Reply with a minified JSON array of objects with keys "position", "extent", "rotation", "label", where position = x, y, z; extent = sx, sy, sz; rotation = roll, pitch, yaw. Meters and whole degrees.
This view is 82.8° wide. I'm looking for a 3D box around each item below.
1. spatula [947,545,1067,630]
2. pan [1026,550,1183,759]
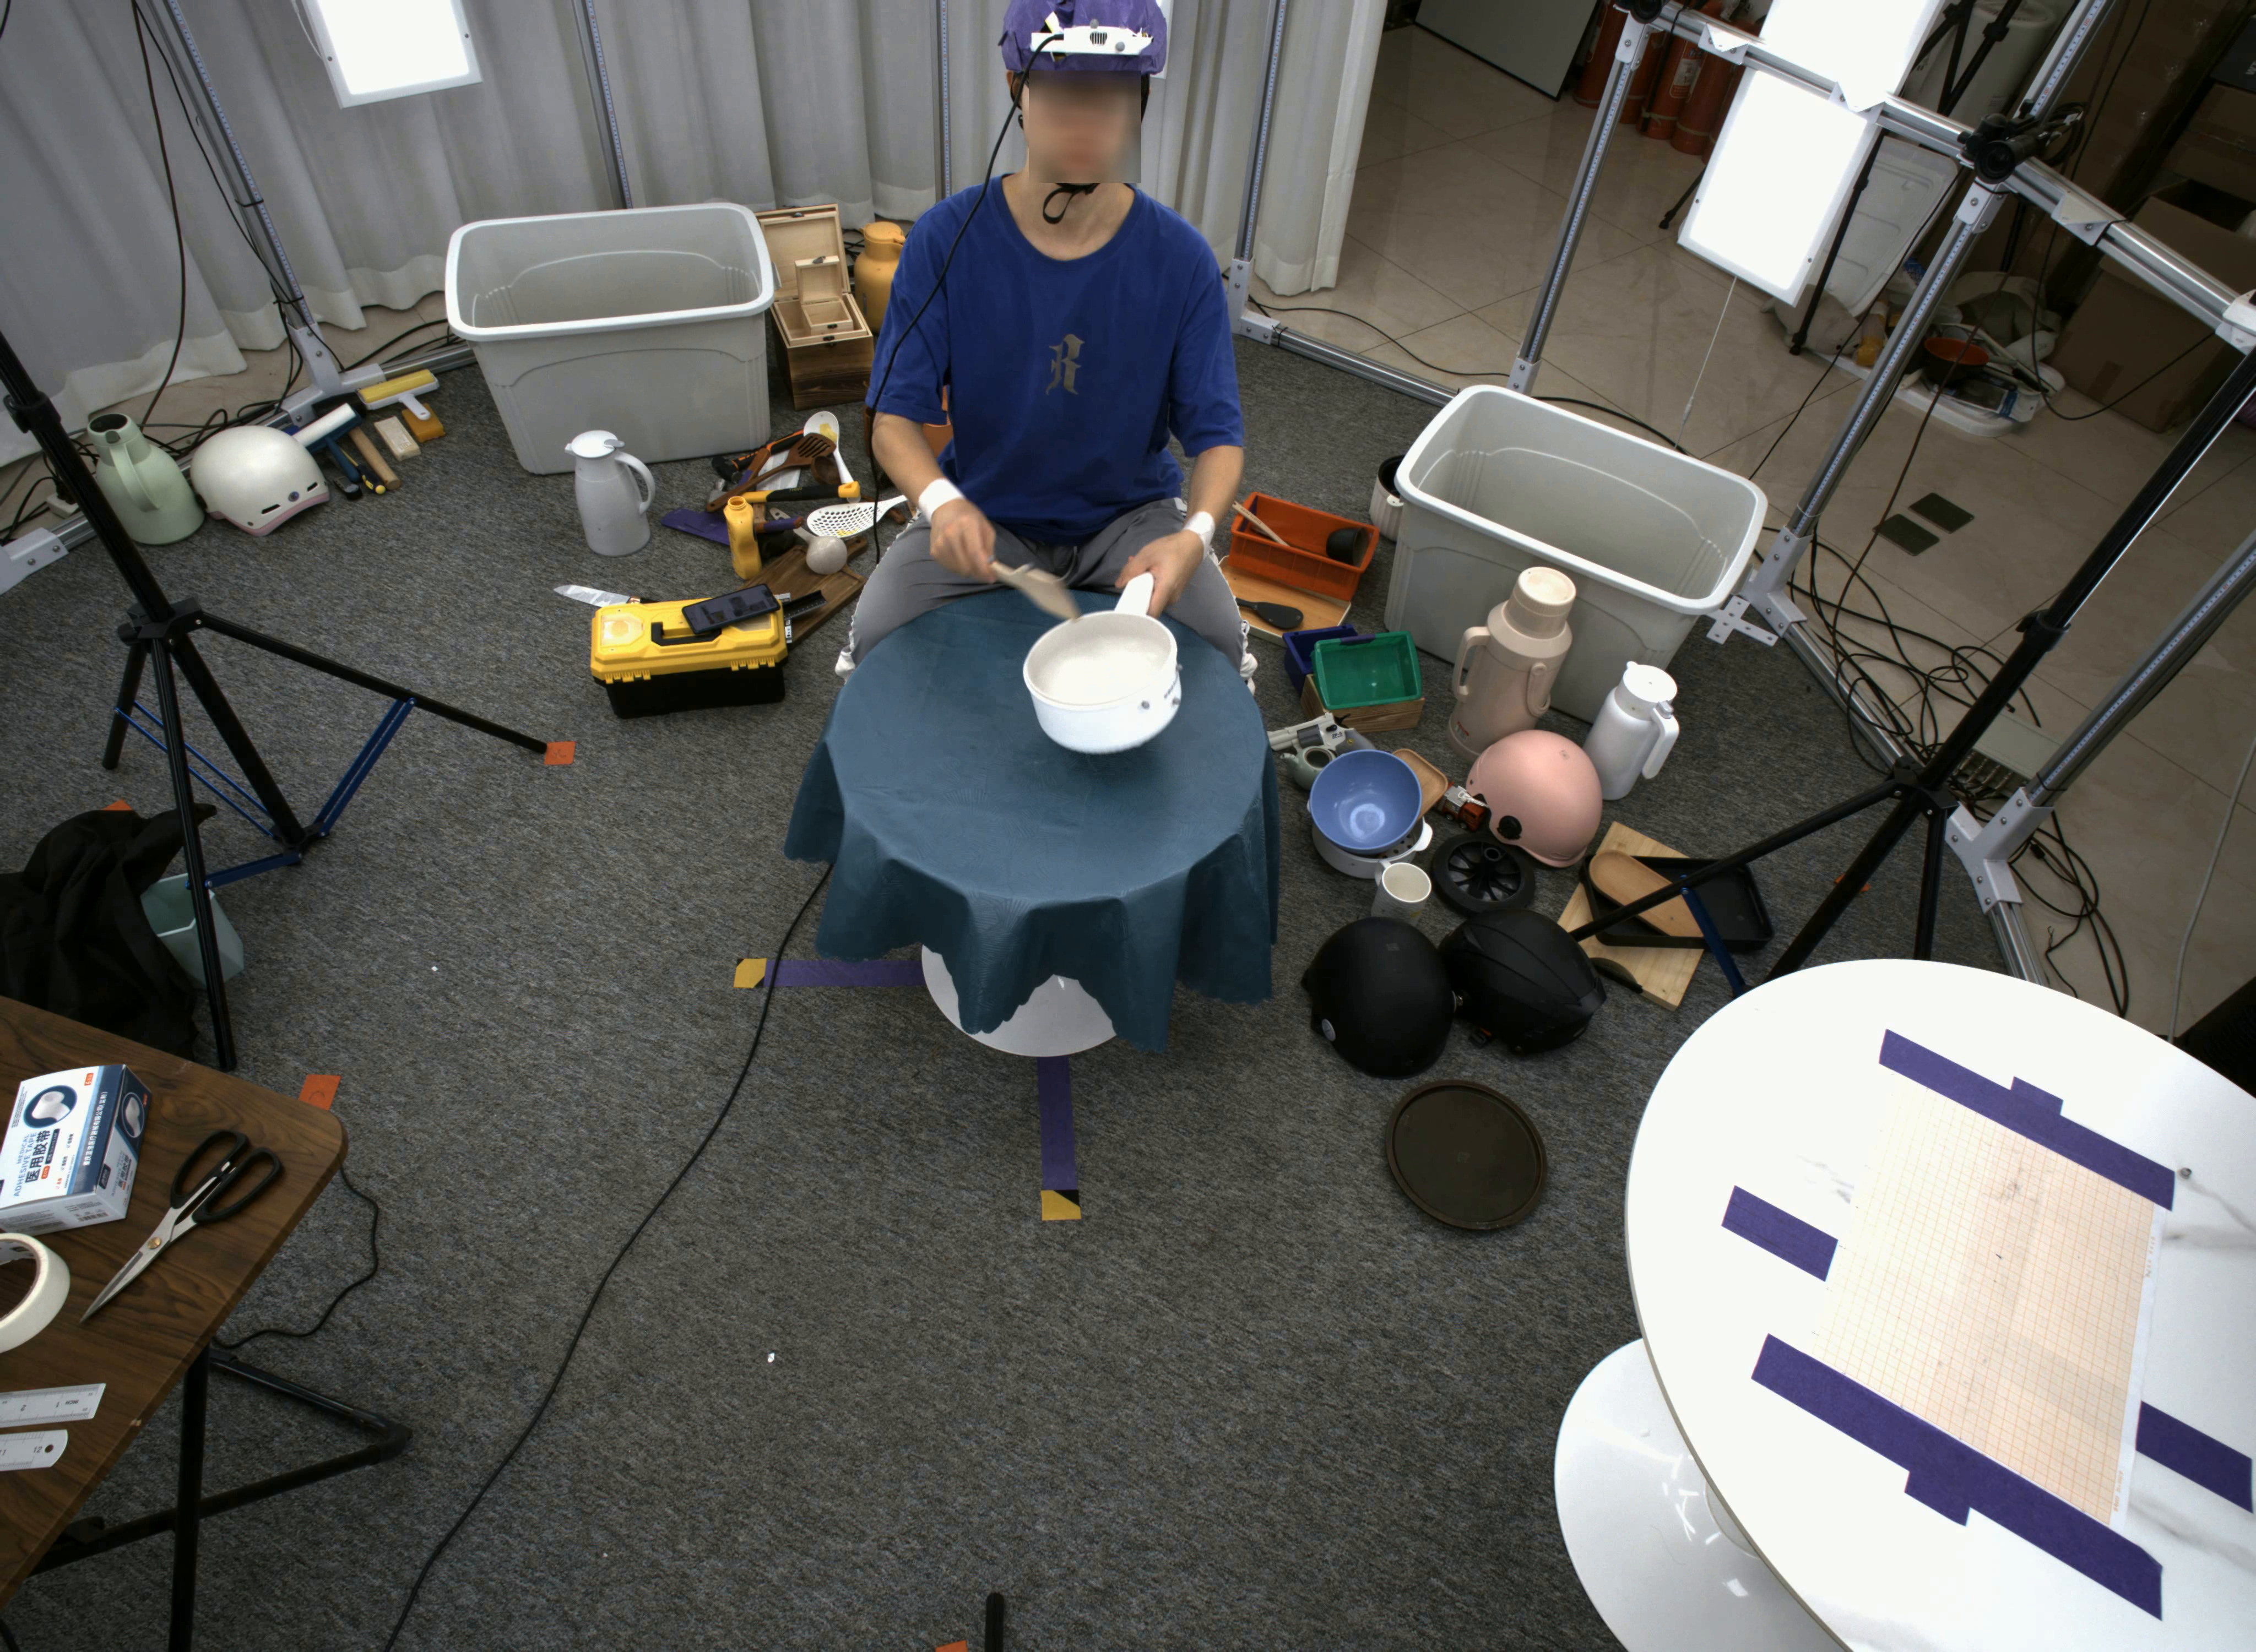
[{"position":[-0.170,-0.325,1.695],"extent":[0.011,0.070,0.298],"rotation":[-44,41,-7],"label":"spatula"},{"position":[-0.004,-0.234,1.746],"extent":[0.202,0.099,0.362],"rotation":[4,46,21],"label":"pan"}]
